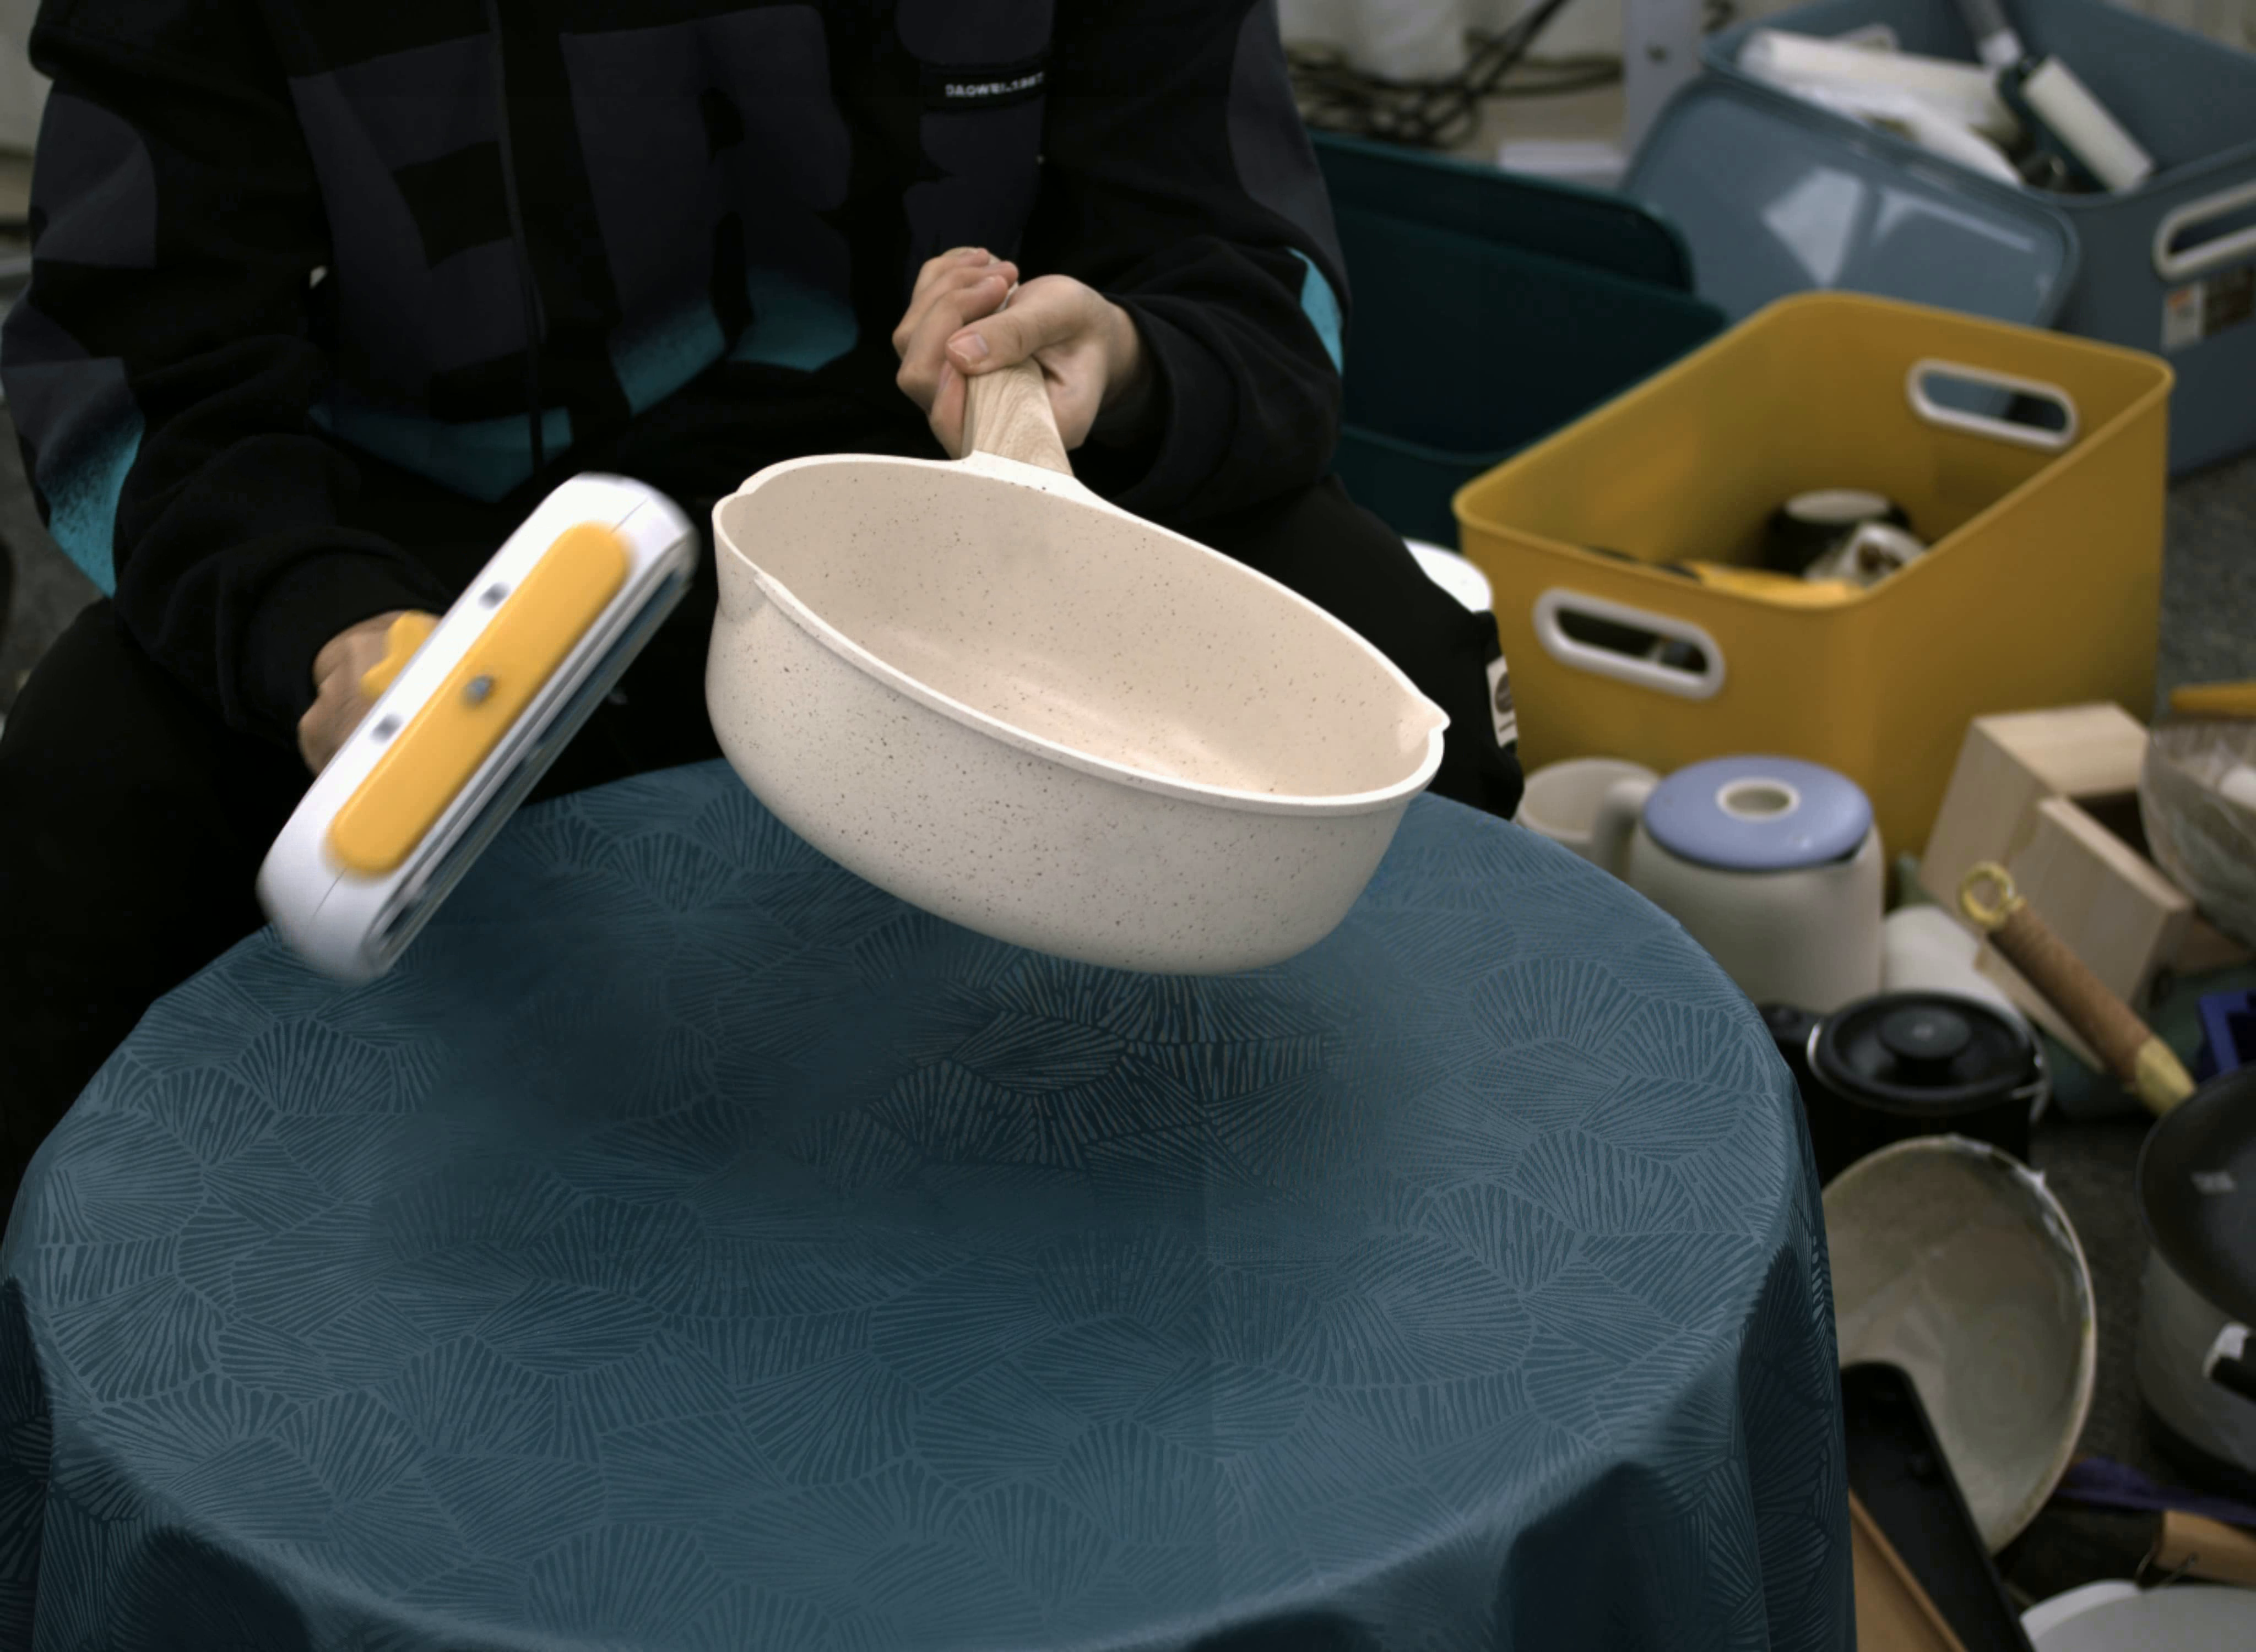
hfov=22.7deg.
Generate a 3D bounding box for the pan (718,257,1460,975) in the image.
[{"bbox_3d":[-0.036,-0.078,1.961,0.263,0.101,0.440,13,22,-17],"label":"pan"}]

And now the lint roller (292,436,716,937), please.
[{"bbox_3d":[-0.224,-0.034,1.924,0.074,0.190,0.196,33,67,-1],"label":"lint roller"}]
